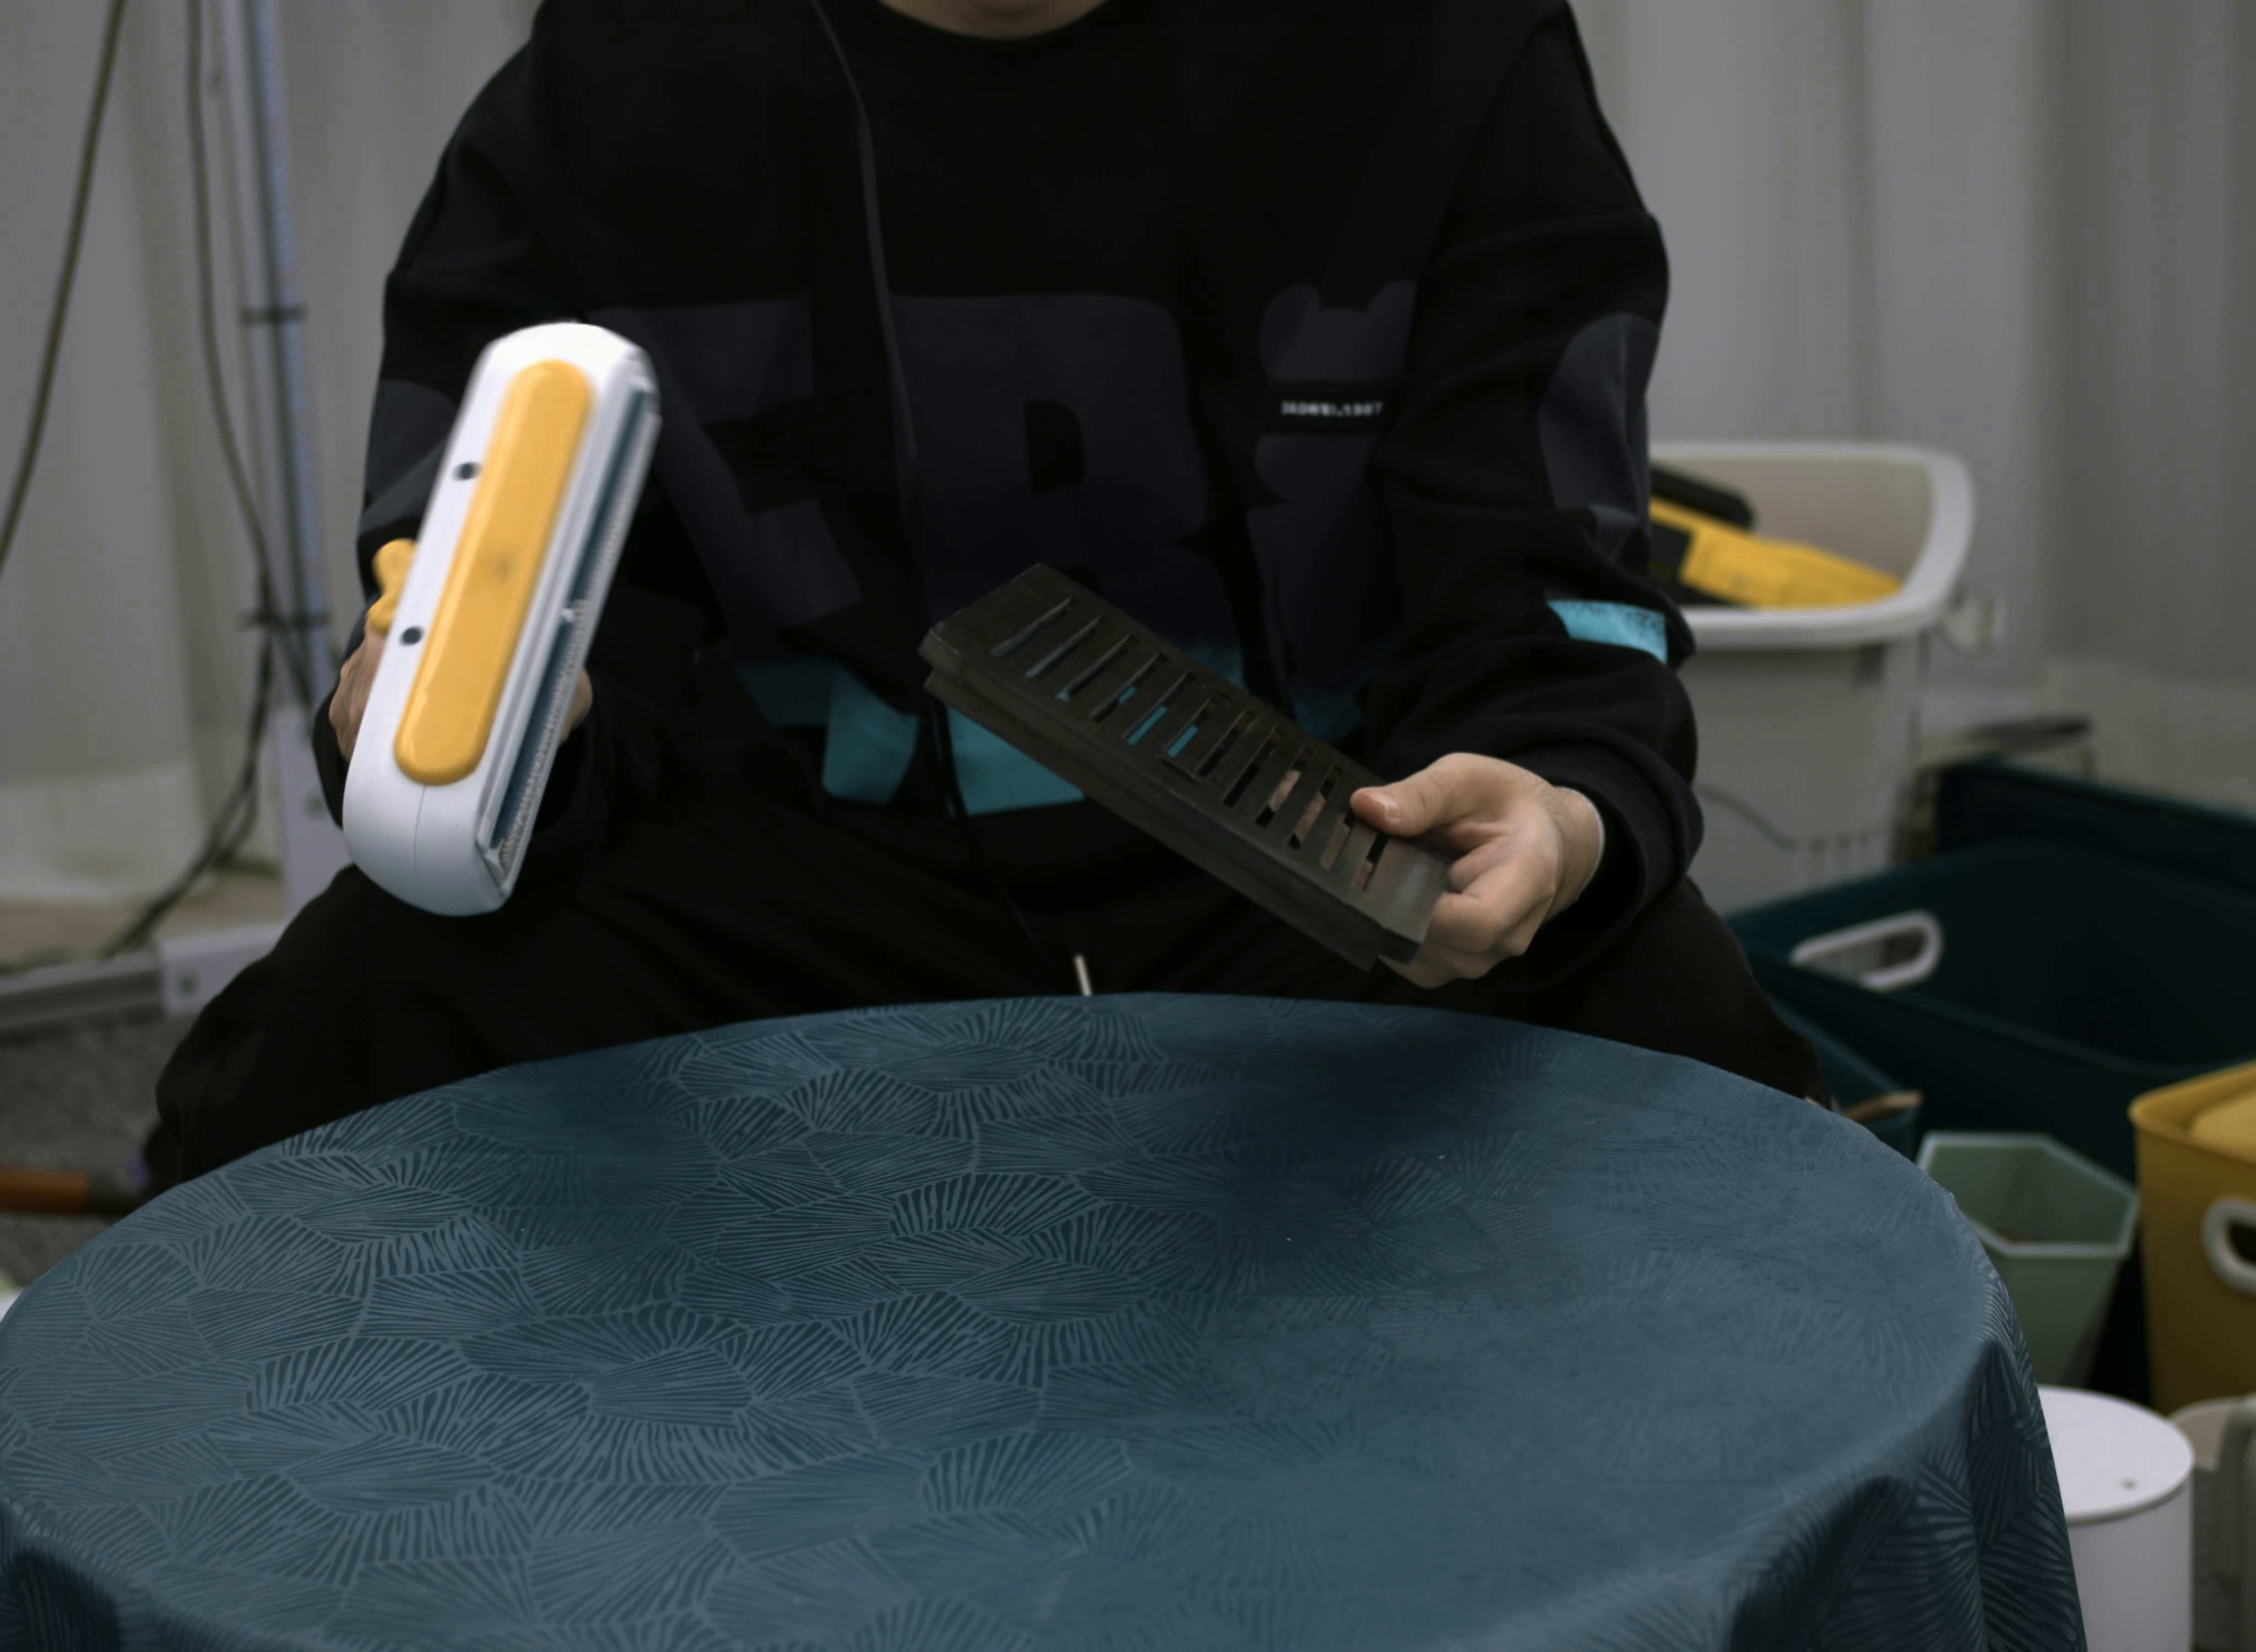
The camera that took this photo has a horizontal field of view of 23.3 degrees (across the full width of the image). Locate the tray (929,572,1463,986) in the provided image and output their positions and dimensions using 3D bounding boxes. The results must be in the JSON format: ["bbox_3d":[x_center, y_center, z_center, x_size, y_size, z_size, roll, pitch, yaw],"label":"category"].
[{"bbox_3d":[0.026,-0.018,1.713,0.170,0.018,0.306,33,8,1],"label":"tray"}]

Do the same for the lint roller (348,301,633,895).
[{"bbox_3d":[-0.202,-0.046,1.741,0.074,0.195,0.190,5,-27,2],"label":"lint roller"}]
